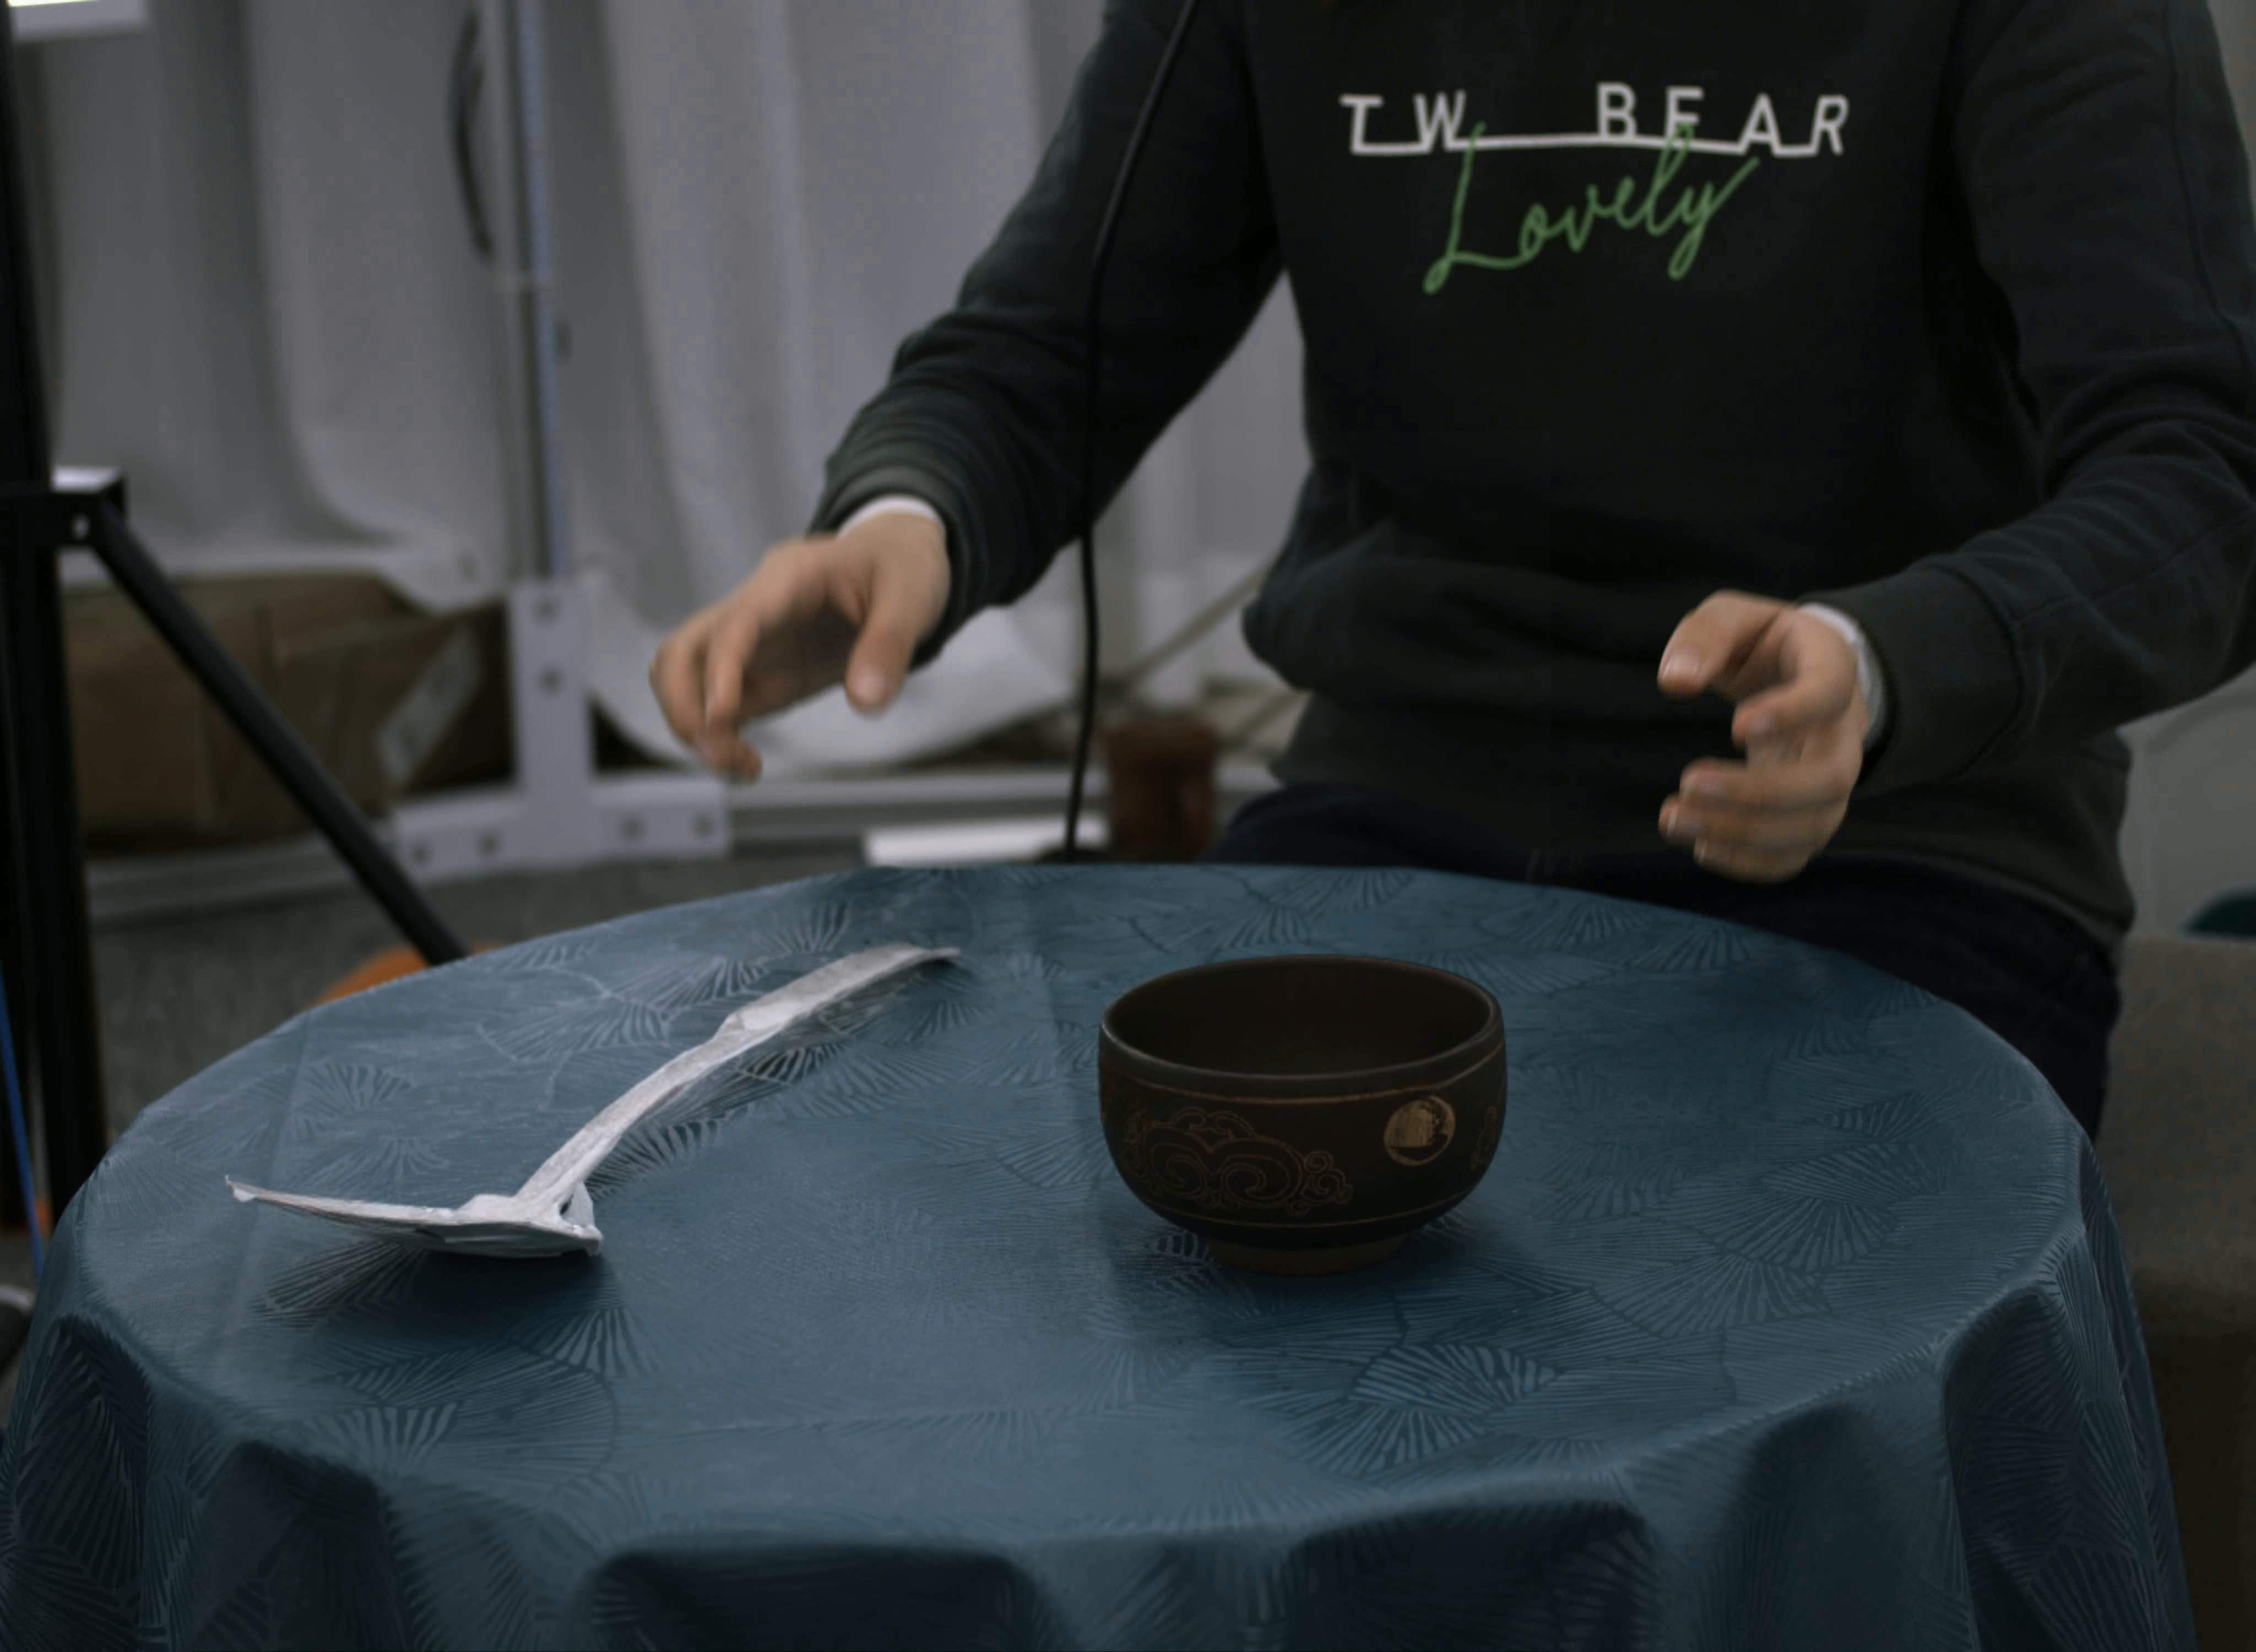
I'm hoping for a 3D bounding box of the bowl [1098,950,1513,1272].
[{"bbox_3d":[0.050,0.085,1.502,0.117,0.070,0.118,-1,15,-1],"label":"bowl"}]

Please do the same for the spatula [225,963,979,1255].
[{"bbox_3d":[-0.138,0.076,1.623,0.100,0.045,0.359,3,17,26],"label":"spatula"}]
